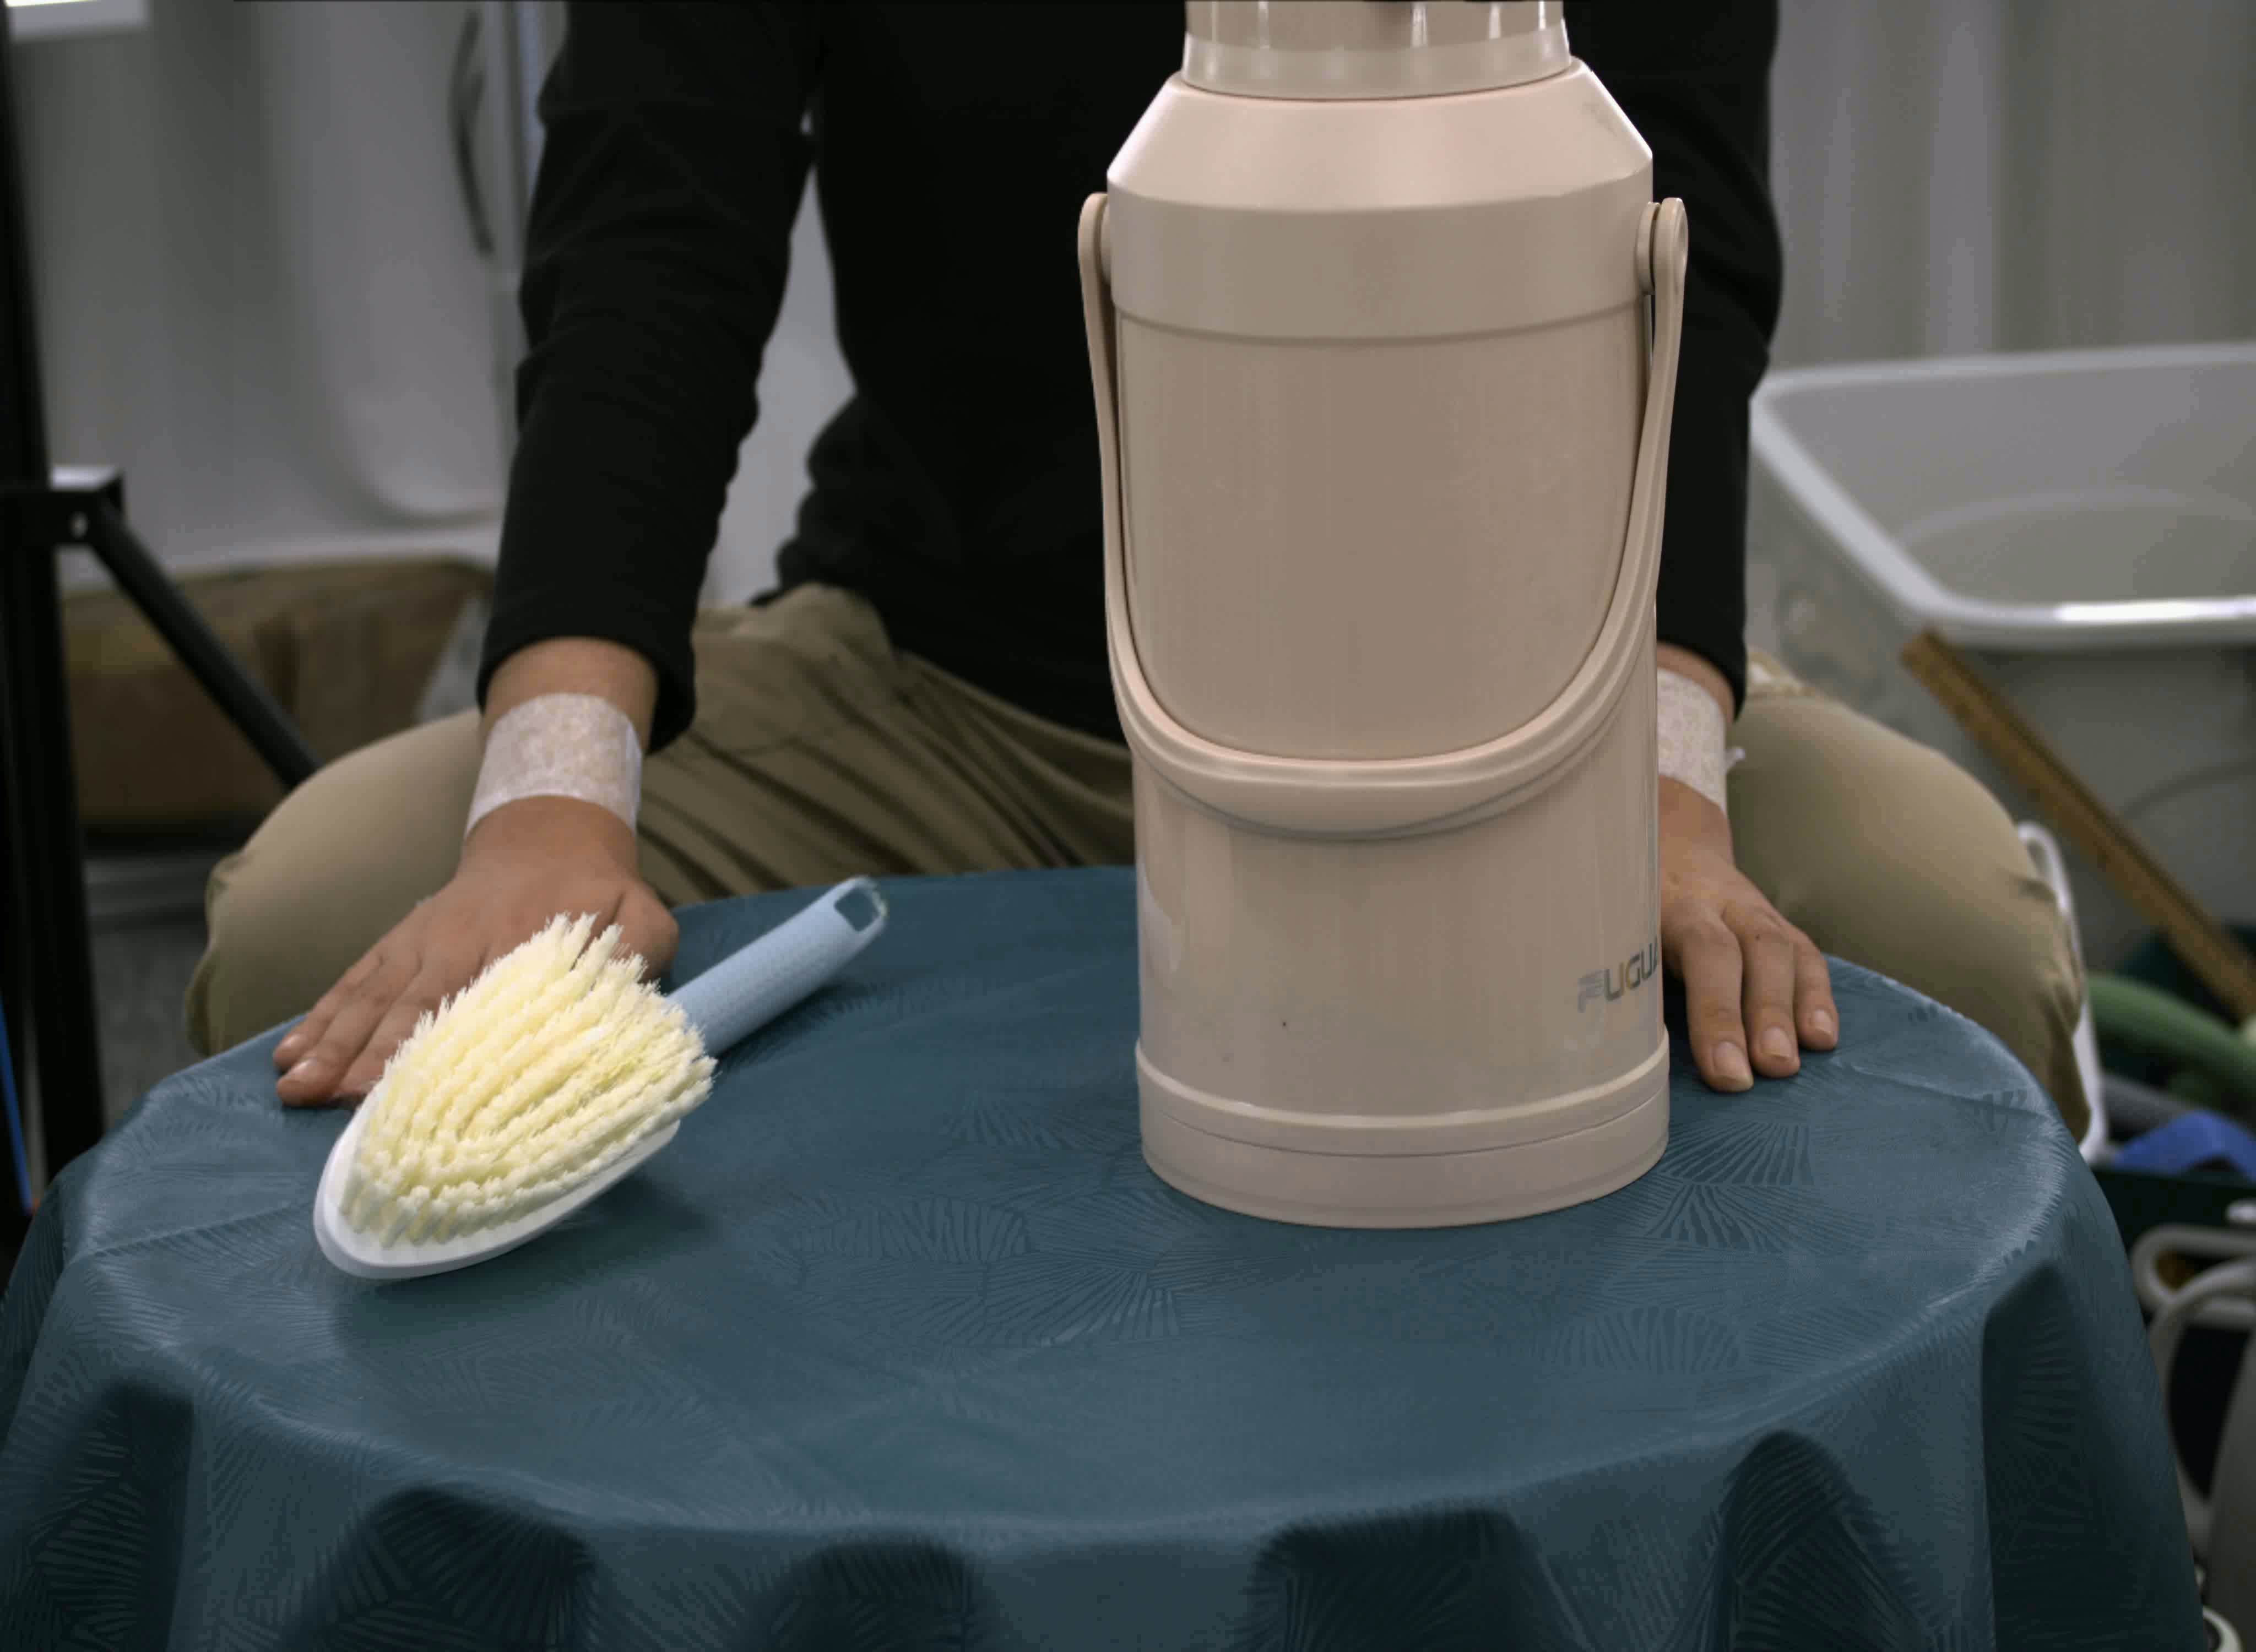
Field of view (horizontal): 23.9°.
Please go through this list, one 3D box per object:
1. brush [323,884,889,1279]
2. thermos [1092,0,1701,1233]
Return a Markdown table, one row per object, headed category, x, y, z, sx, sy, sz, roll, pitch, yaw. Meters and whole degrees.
| category | x | y | z | sx | sy | sz | roll | pitch | yaw |
| --- | --- | --- | --- | --- | --- | --- | --- | --- | --- |
| brush | -0.138 | 0.052 | 1.630 | 0.086 | 0.083 | 0.320 | -1 | 16 | 27 |
| thermos | 0.084 | -0.100 | 1.551 | 0.177 | 0.406 | 0.205 | 1 | 15 | 17 |
